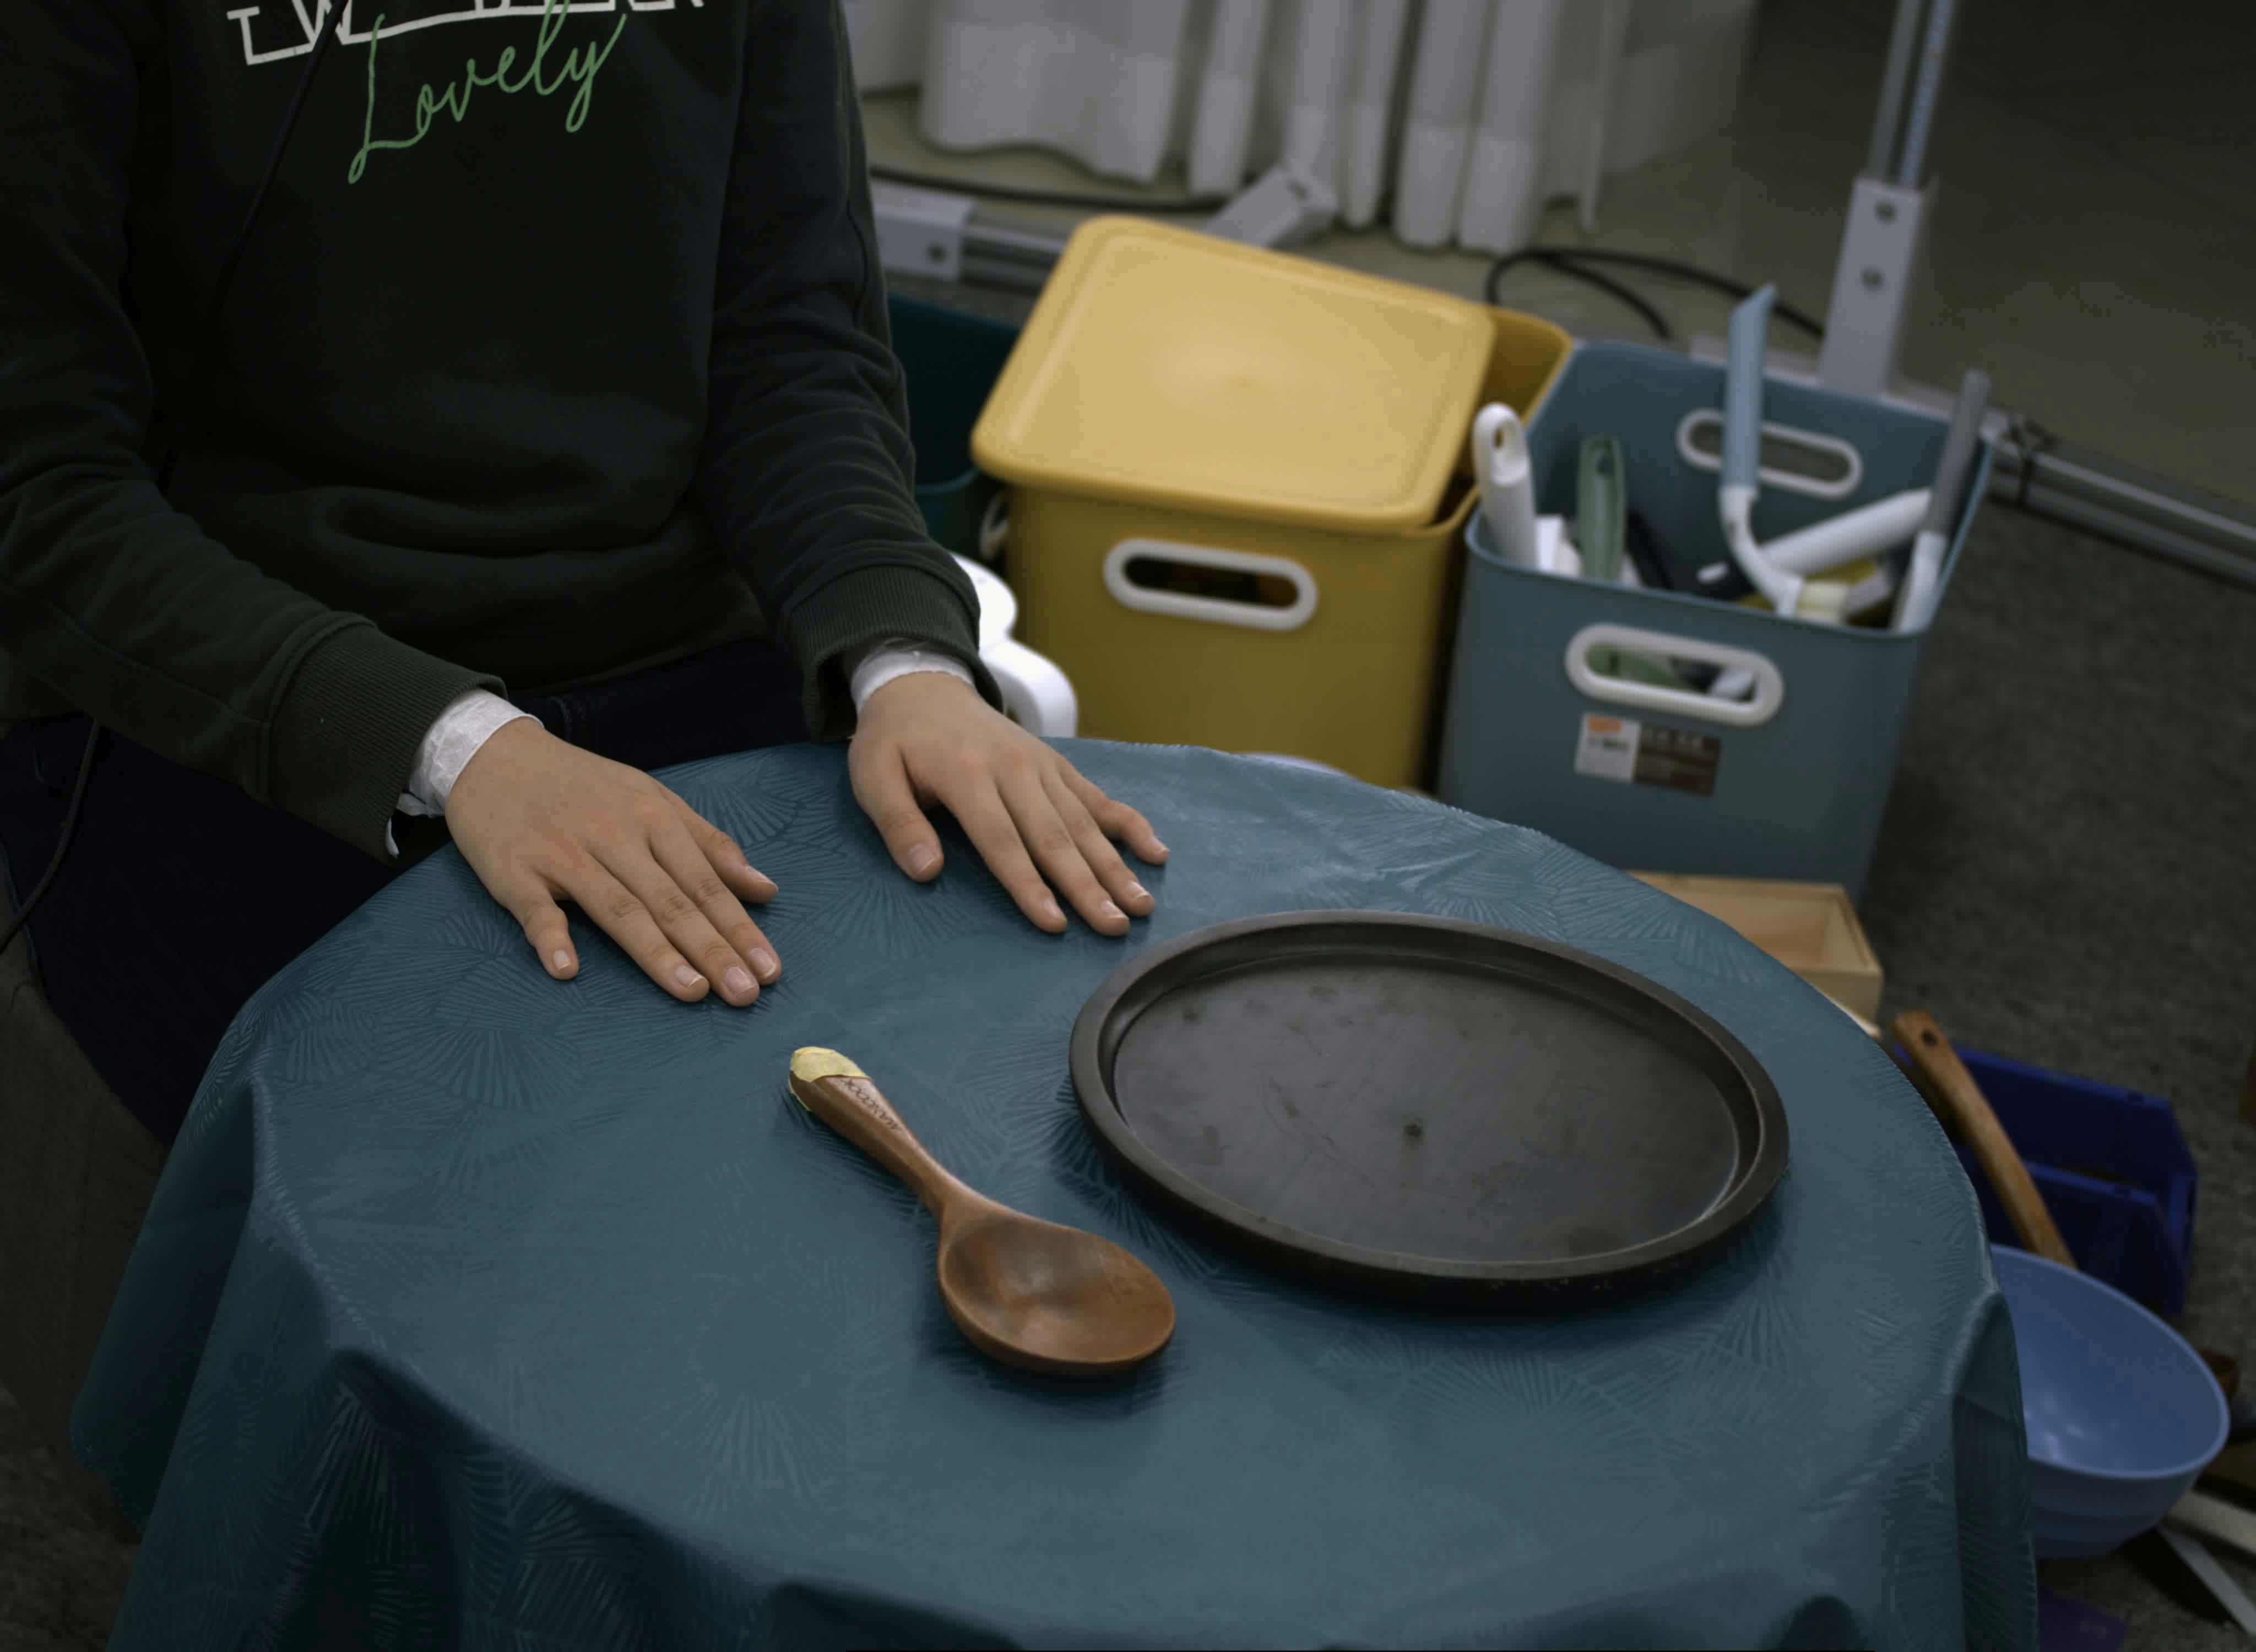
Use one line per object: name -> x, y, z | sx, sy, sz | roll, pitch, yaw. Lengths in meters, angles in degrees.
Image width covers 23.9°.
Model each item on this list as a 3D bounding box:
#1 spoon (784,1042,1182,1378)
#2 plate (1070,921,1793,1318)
spoon -> -0.056, 0.127, 1.761 | 0.075, 0.017, 0.218 | -11, 32, -30
plate -> 0.104, 0.099, 1.848 | 0.254, 0.029, 0.256 | 6, 27, -4
